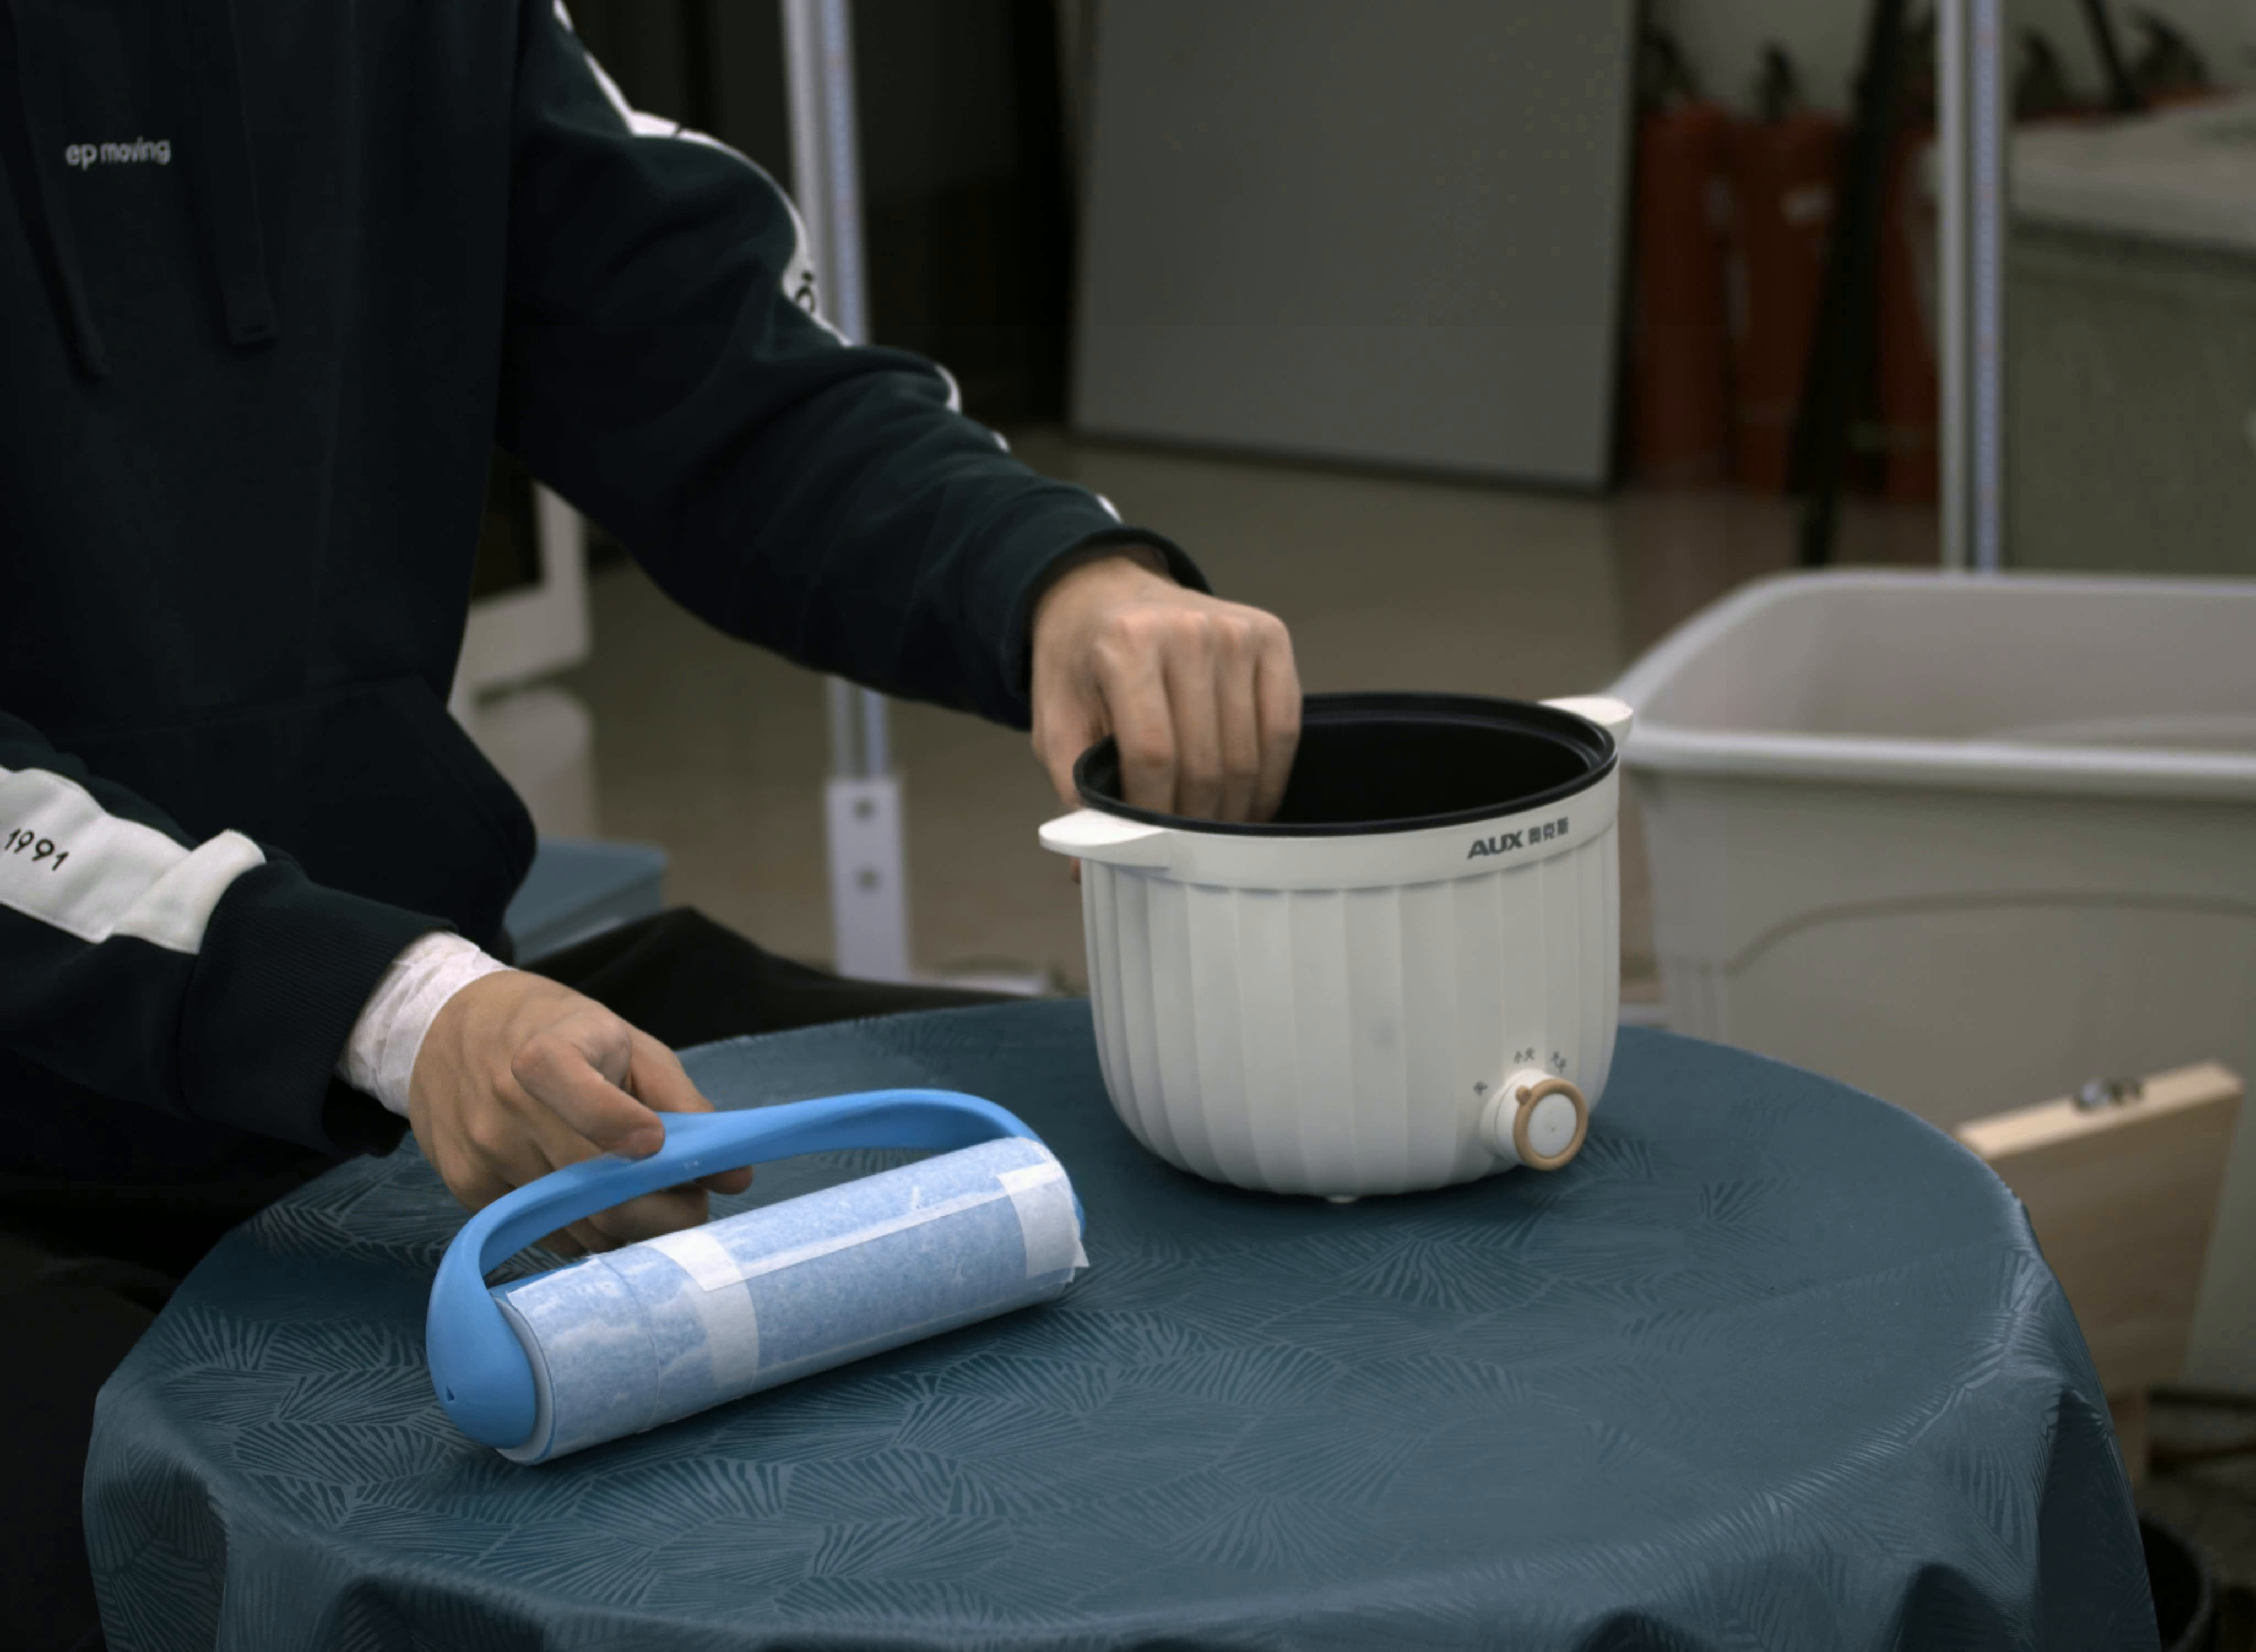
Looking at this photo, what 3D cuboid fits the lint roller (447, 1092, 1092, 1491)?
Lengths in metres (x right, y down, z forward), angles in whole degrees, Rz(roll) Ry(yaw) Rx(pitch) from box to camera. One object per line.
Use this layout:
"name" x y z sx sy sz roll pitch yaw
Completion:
"lint roller" -0.142 0.125 1.651 0.224 0.068 0.182 -20 30 -38

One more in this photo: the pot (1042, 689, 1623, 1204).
"pot" 0.079 0.041 1.782 0.235 0.144 0.192 -15 14 -34
